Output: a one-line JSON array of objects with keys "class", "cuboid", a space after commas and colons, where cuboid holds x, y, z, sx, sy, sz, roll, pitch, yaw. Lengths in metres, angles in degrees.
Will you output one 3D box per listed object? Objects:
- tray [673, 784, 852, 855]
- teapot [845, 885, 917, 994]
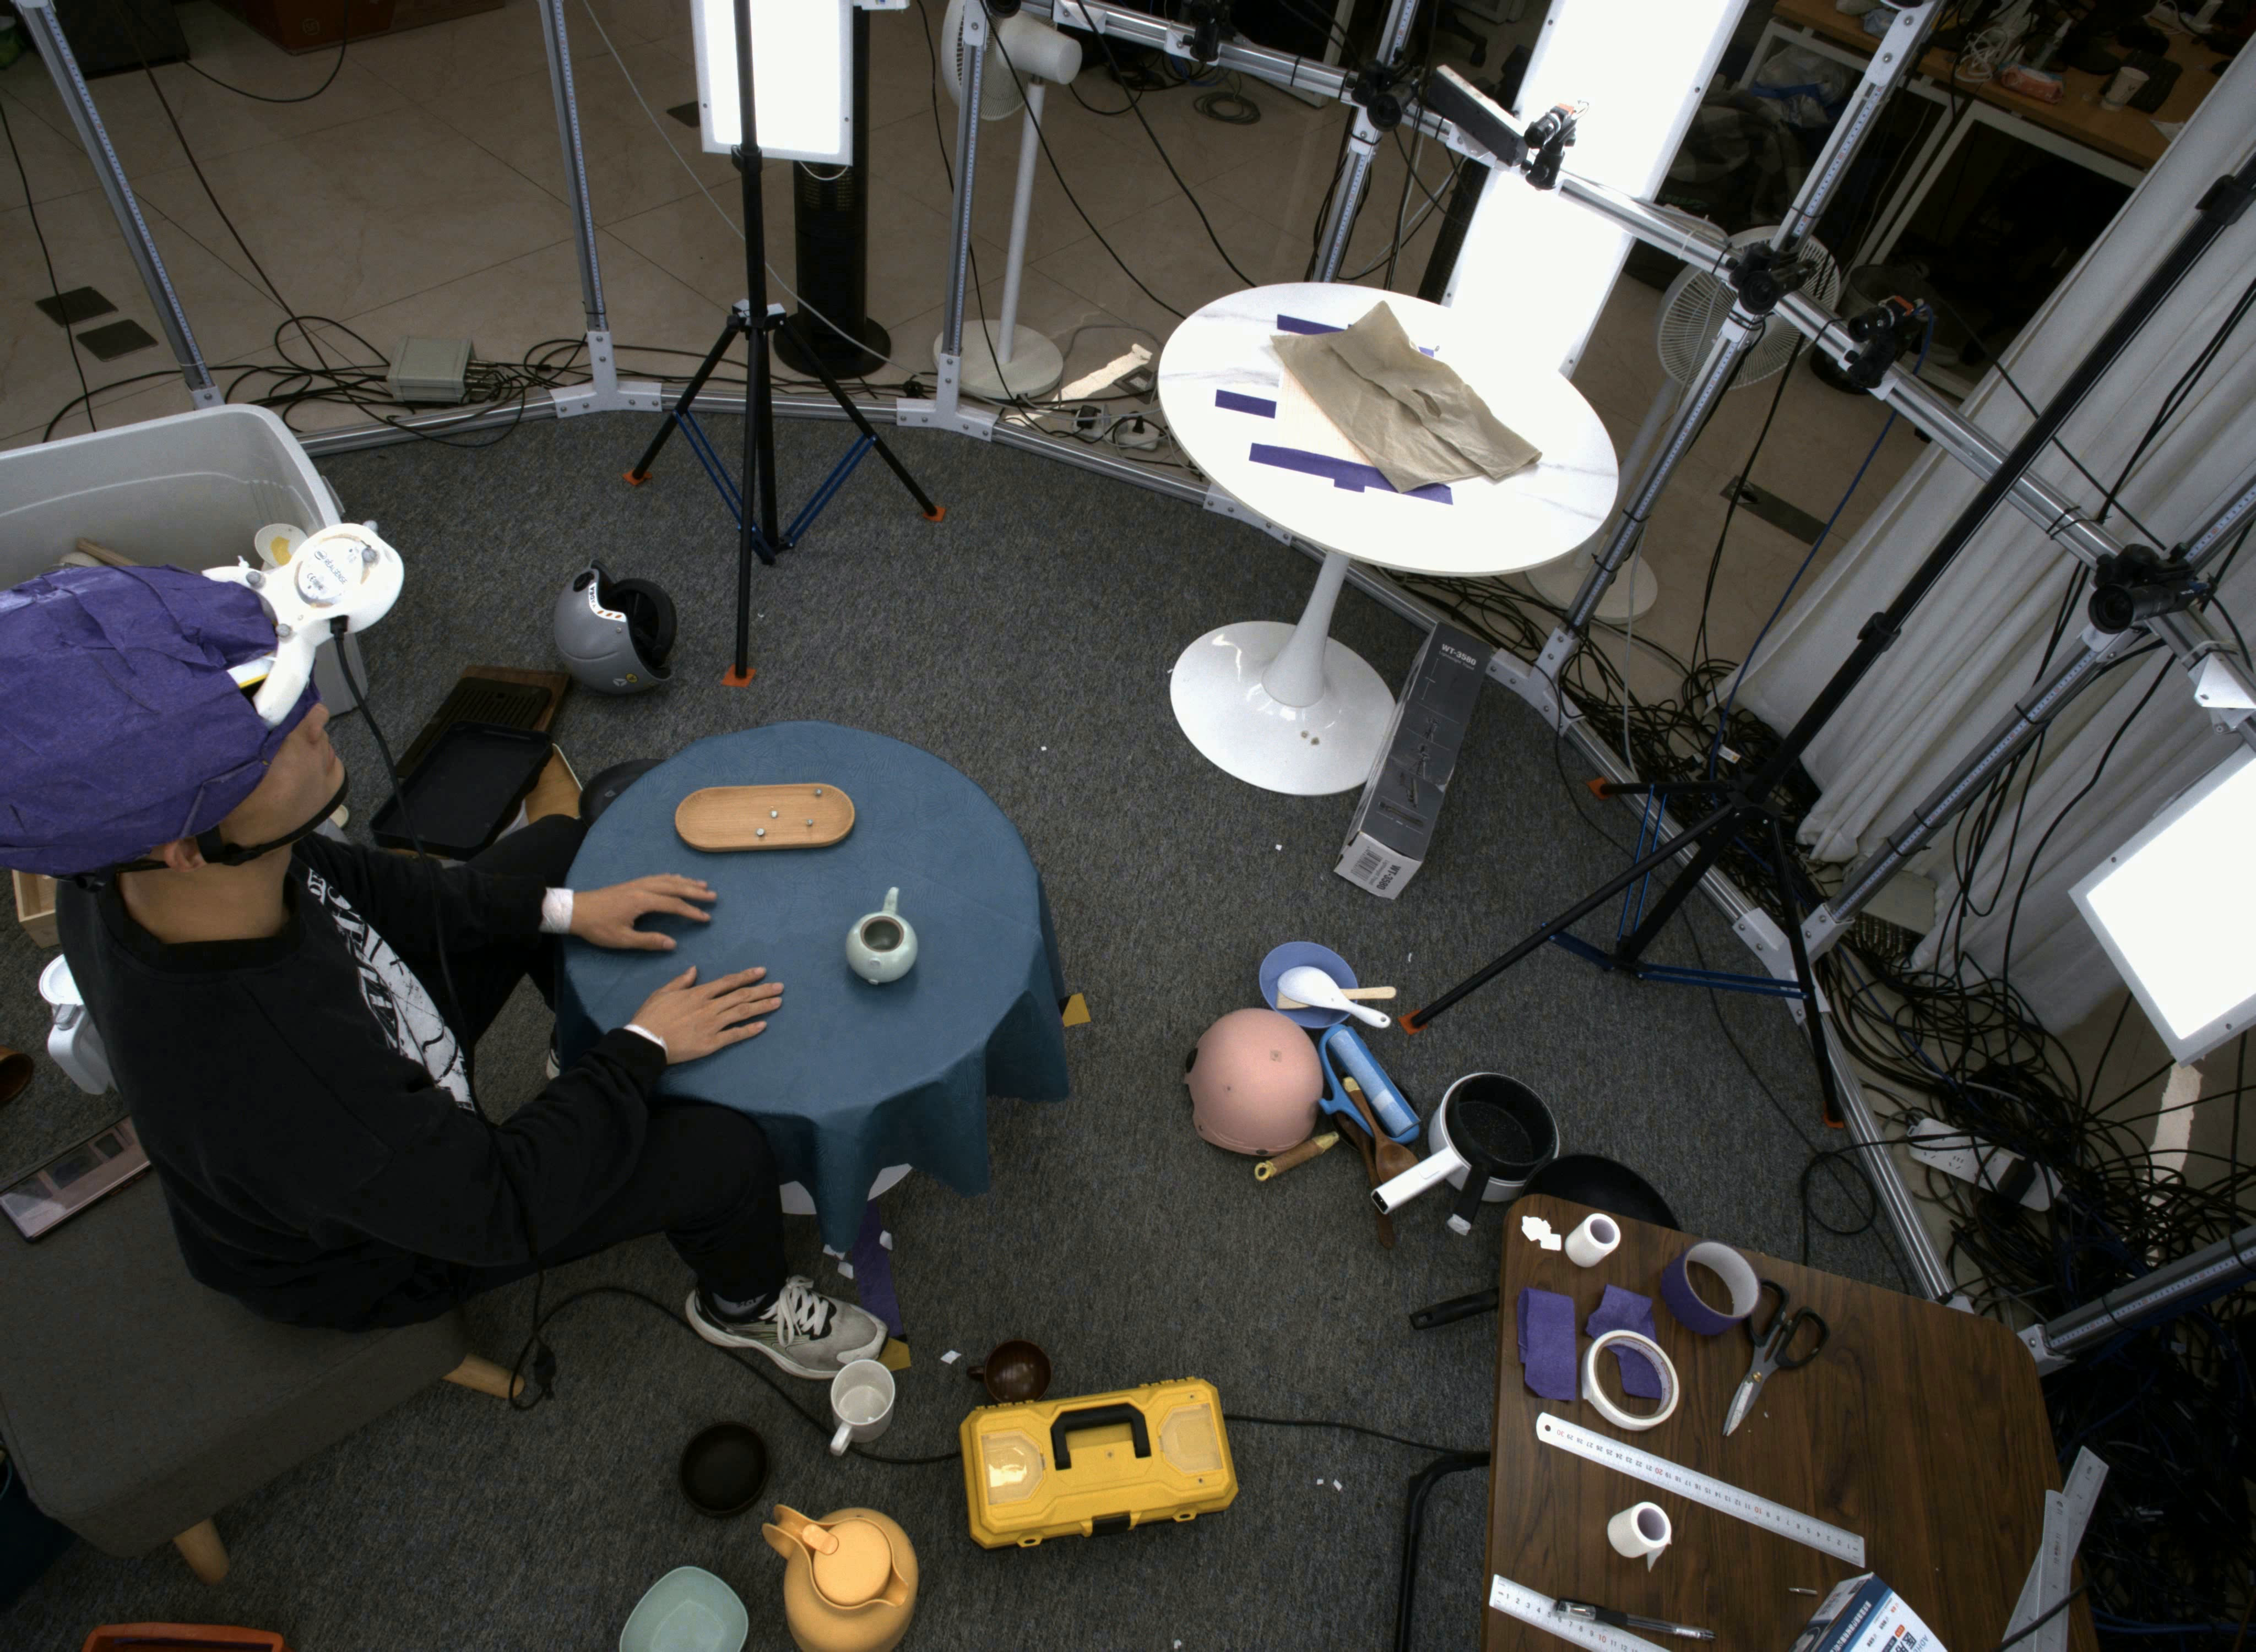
[{"class": "tray", "cuboid": [-0.480, -0.010, 1.704, 0.231, 0.021, 0.099, -4, 54, -16]}, {"class": "teapot", "cuboid": [-0.303, 0.146, 1.597, 0.088, 0.076, 0.141, 12, 50, -3]}]
